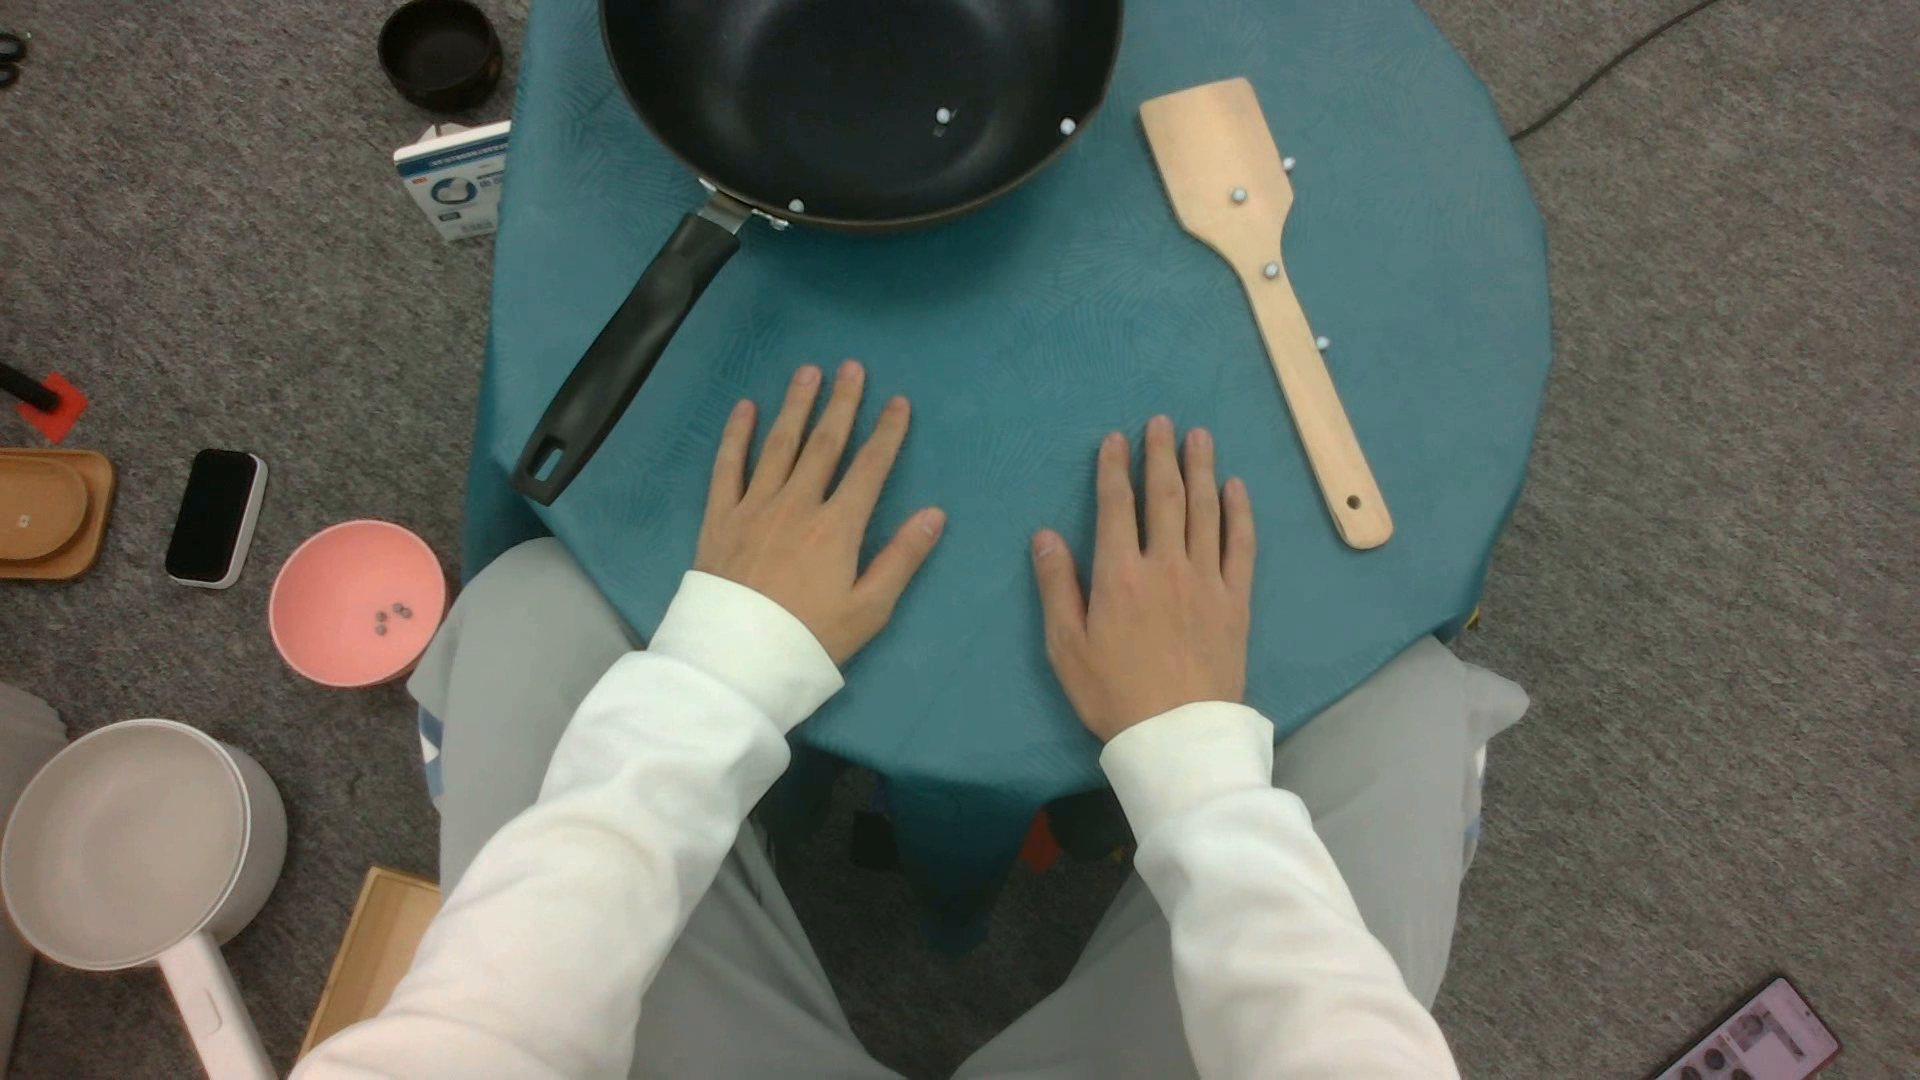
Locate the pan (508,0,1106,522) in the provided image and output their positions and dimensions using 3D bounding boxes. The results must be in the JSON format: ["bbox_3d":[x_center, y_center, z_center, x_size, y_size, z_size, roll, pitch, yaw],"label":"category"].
[{"bbox_3d":[-0.102,-0.199,0.770,0.288,0.086,0.464,26,75,8],"label":"pan"}]

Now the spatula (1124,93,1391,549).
[{"bbox_3d":[0.177,-0.129,0.787,0.072,0.010,0.293,-18,73,-7],"label":"spatula"}]
